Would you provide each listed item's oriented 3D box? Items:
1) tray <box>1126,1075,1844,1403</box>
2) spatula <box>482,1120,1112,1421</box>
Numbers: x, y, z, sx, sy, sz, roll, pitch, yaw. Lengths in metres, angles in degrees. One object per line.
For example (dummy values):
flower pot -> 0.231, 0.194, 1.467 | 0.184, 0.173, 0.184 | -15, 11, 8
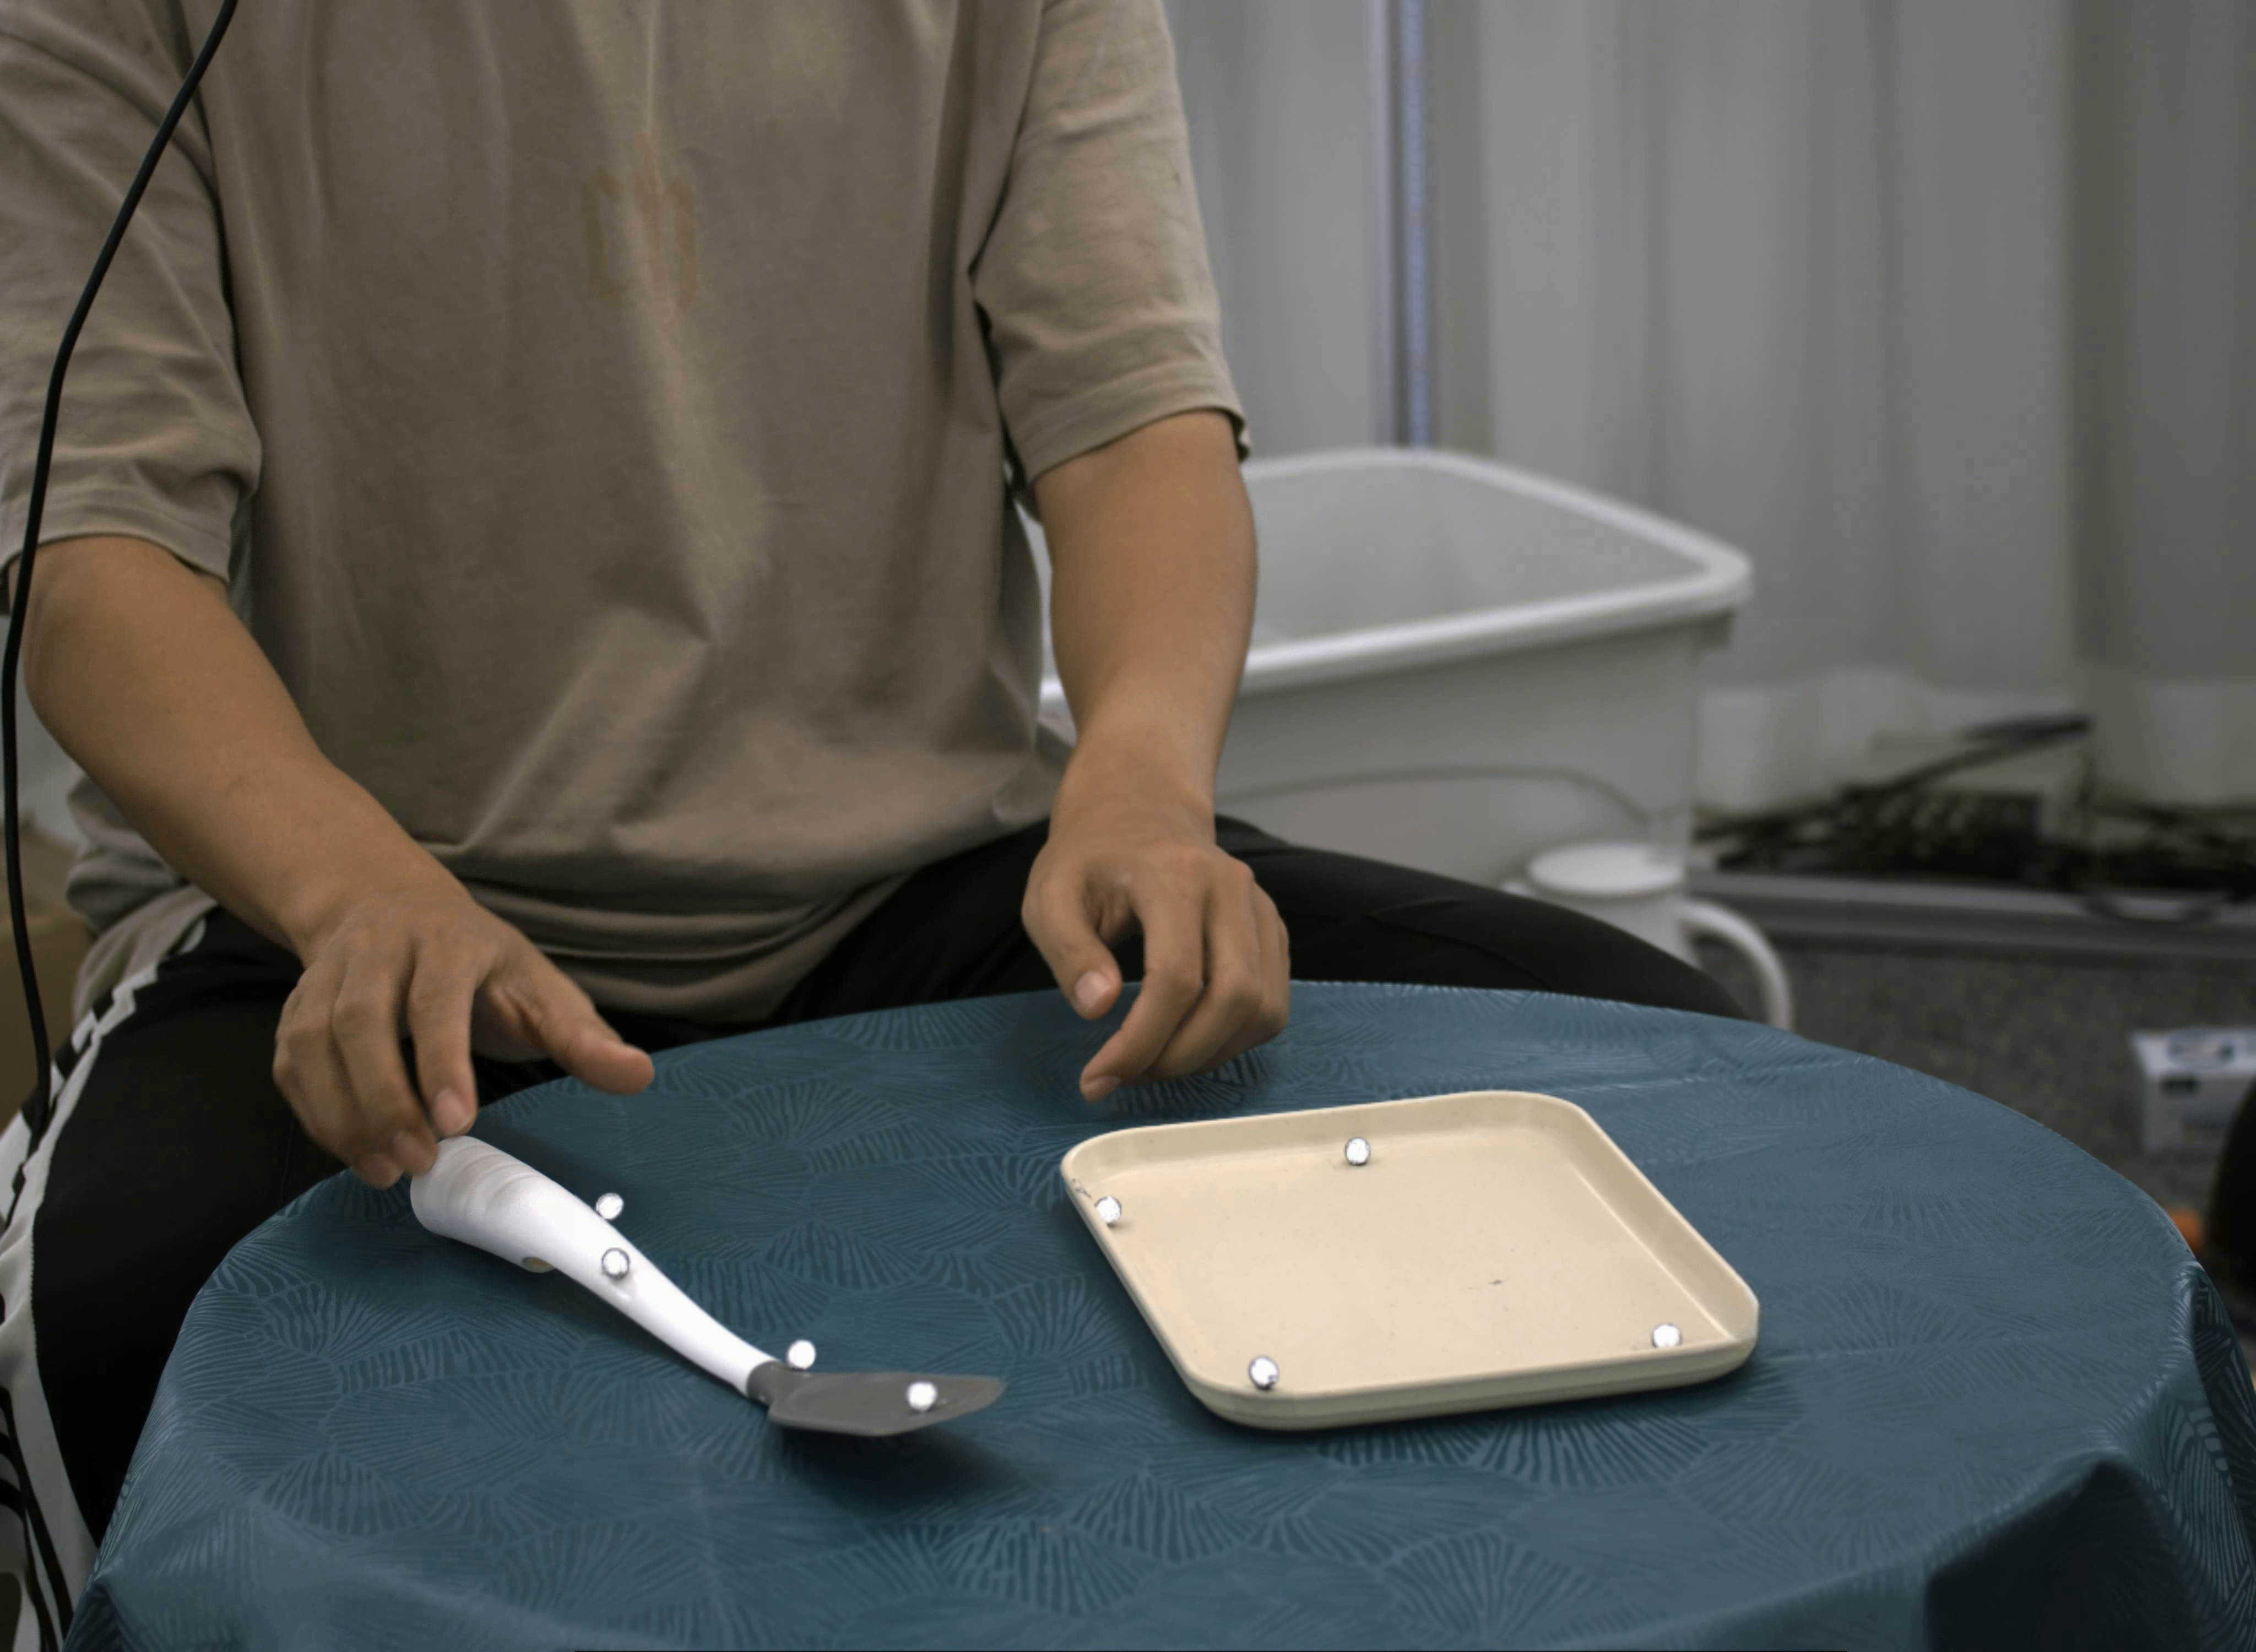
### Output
tray -> 0.101, 0.121, 1.621 | 0.170, 0.017, 0.241 | -5, 15, -11
spatula -> -0.104, 0.134, 1.579 | 0.058, 0.032, 0.289 | -8, 15, -34
